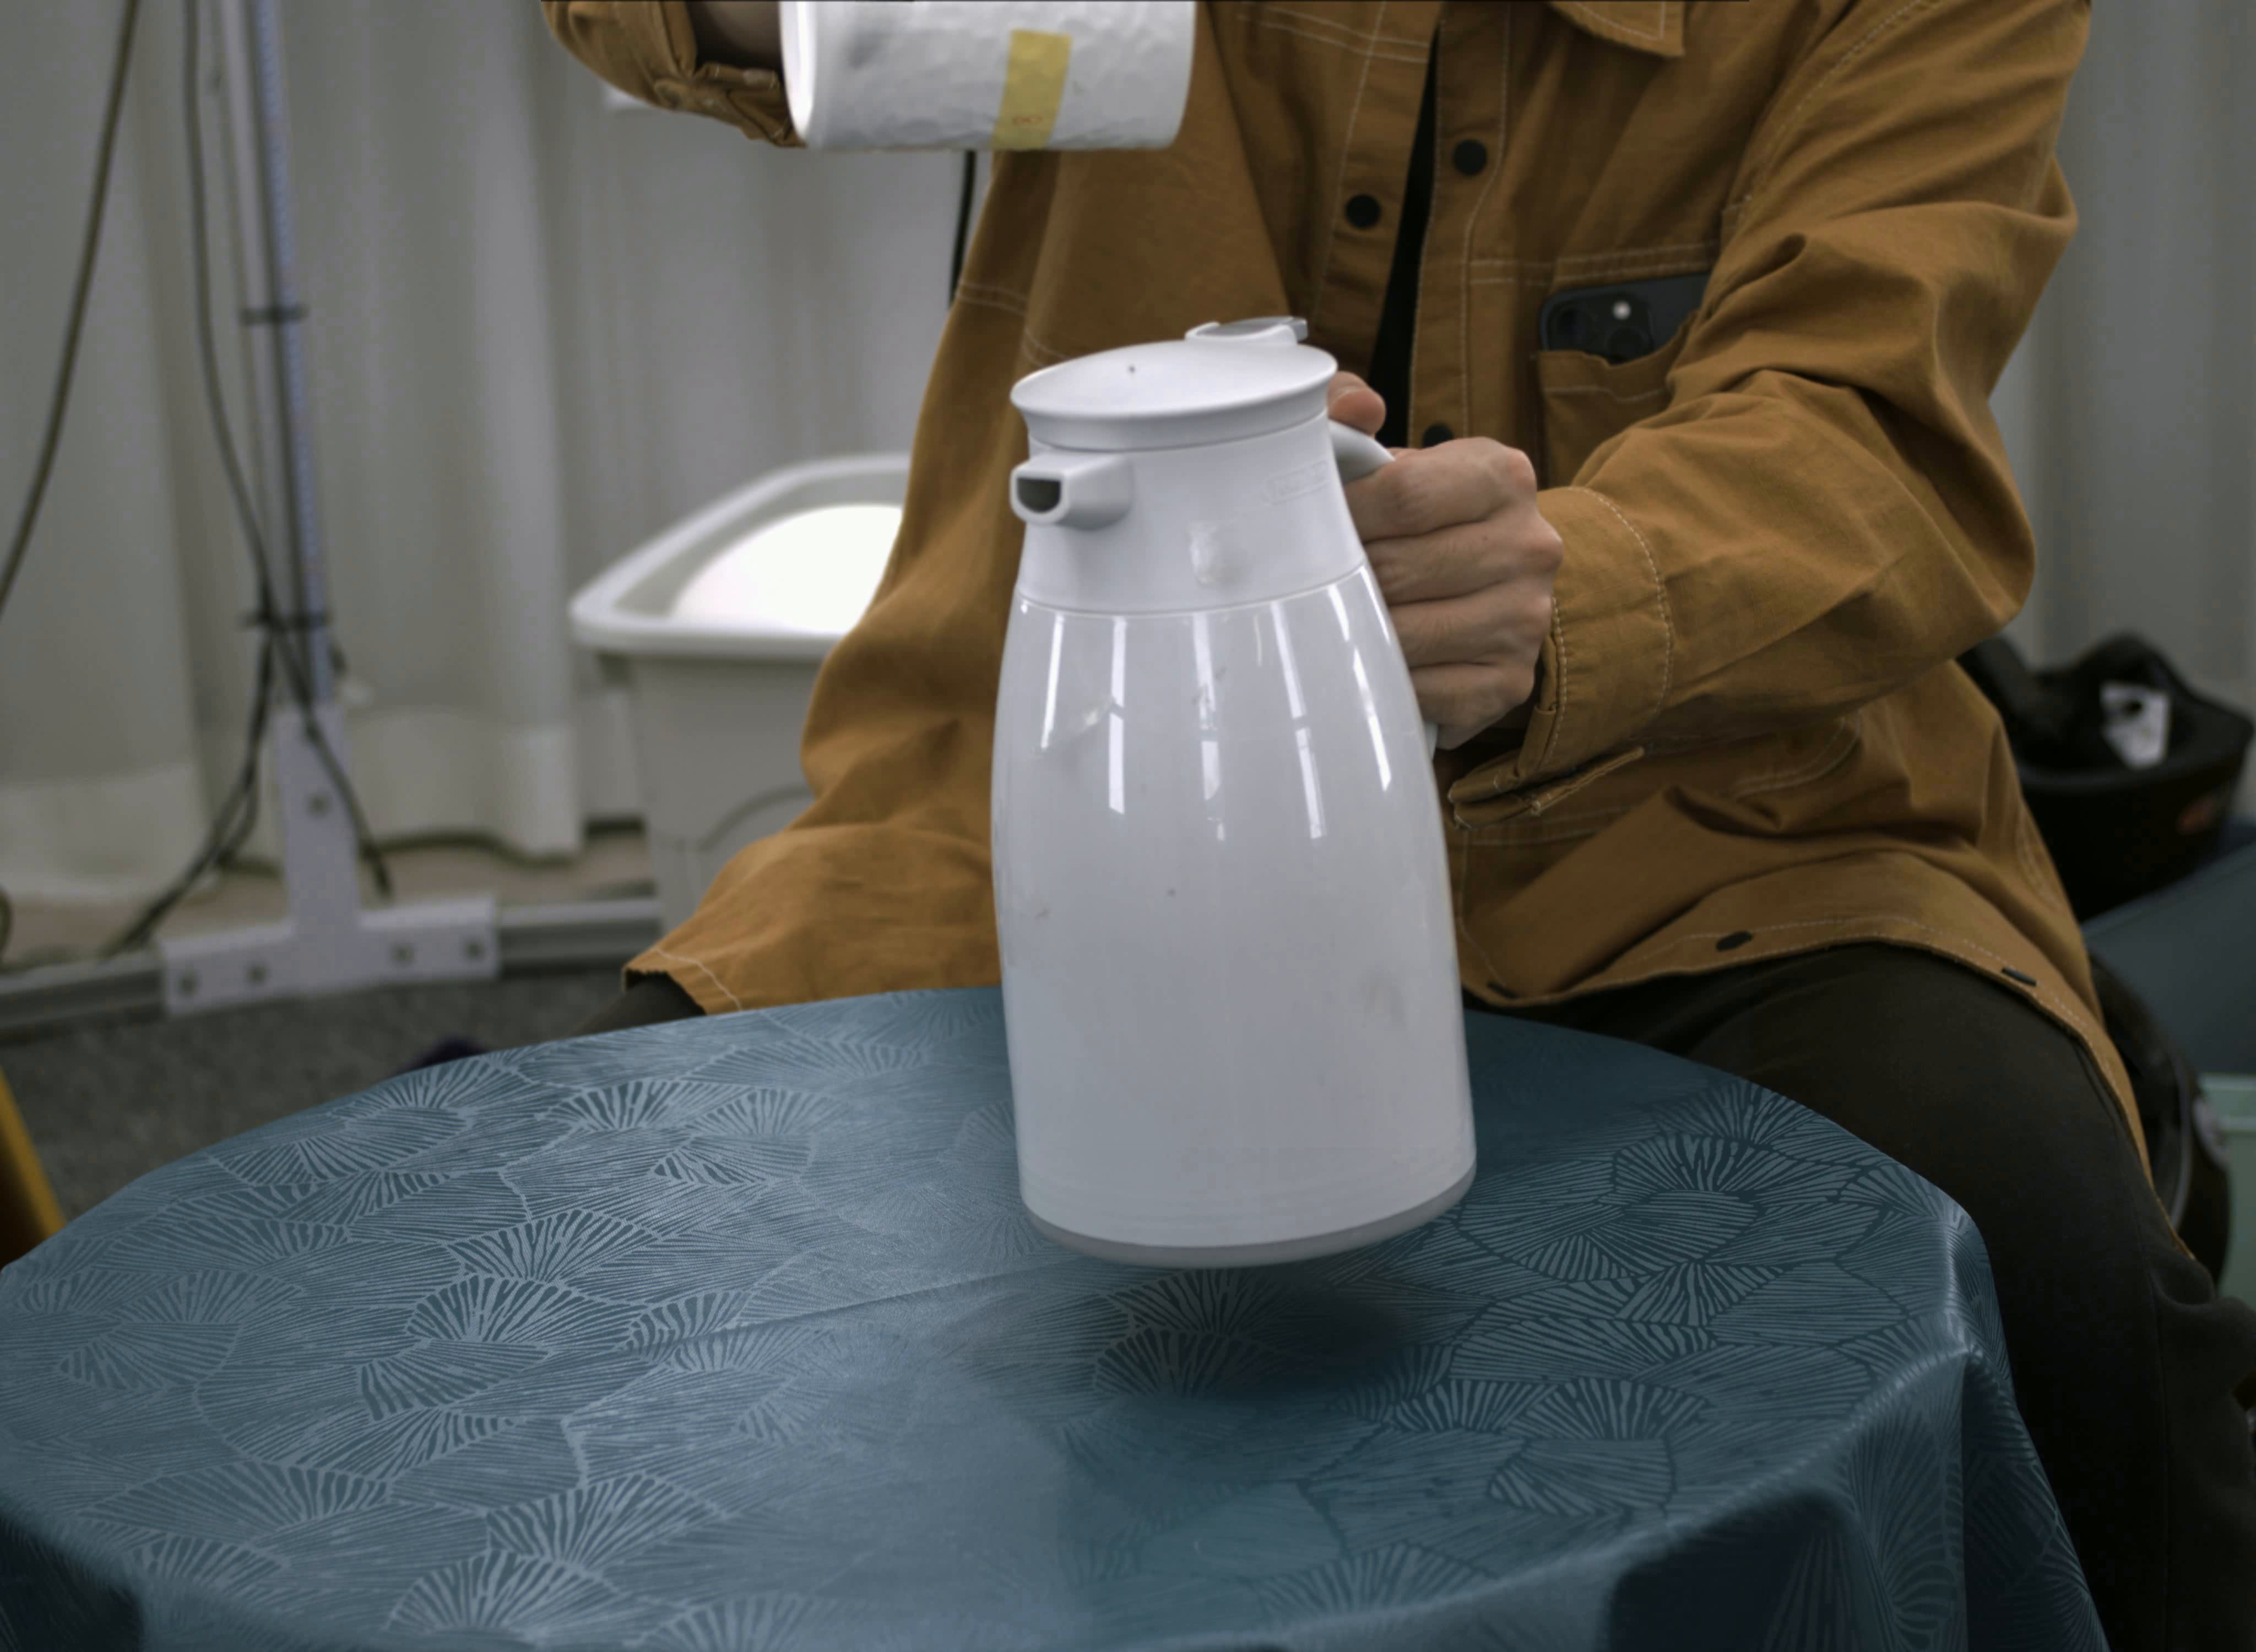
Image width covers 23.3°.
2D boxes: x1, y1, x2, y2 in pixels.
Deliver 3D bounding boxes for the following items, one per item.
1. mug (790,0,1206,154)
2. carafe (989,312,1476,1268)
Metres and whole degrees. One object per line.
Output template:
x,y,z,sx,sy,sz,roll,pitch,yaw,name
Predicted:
-0.040,-0.238,1.515,0.101,0.084,0.120,1,32,-12,mug
0.034,-0.019,1.562,0.133,0.248,0.168,5,17,38,carafe
